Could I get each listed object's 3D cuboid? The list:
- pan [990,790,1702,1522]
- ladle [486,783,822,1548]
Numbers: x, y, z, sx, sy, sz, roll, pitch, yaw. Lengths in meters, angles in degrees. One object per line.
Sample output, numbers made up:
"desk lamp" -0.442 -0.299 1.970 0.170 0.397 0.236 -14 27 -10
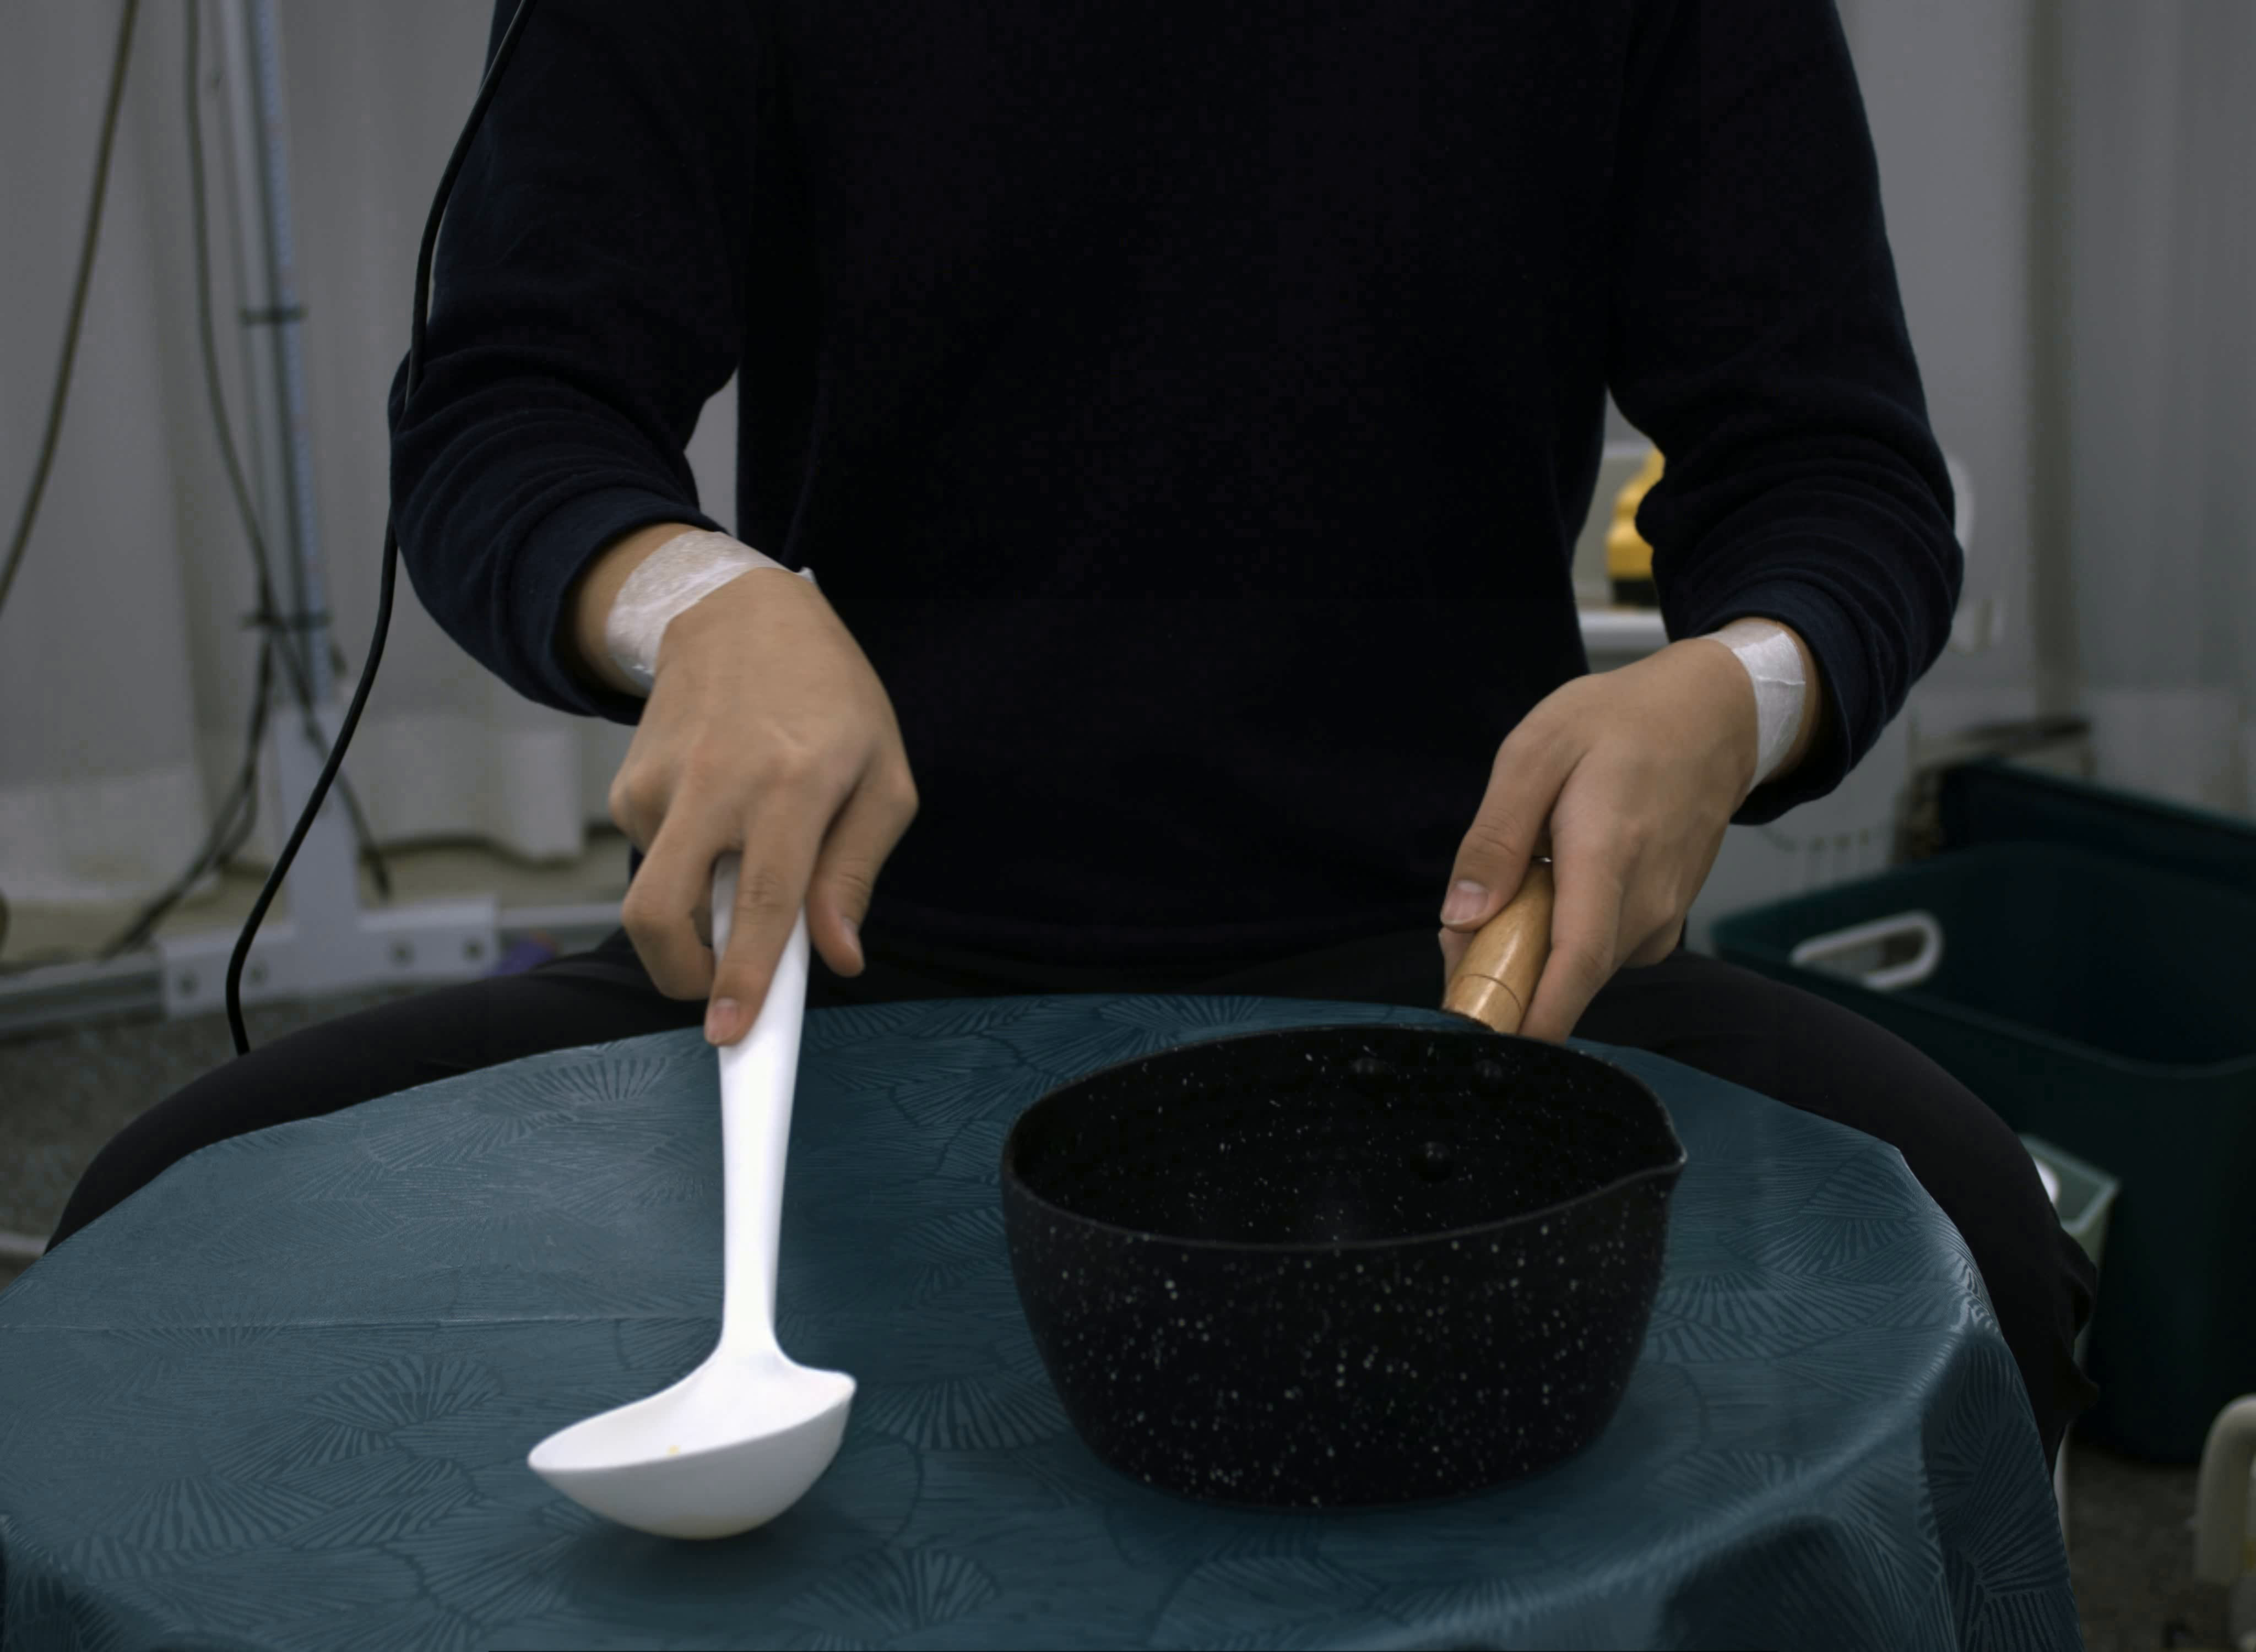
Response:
"pan" 0.084 0.090 1.578 0.207 0.107 0.344 1 18 20
"ladle" -0.120 0.086 1.537 0.090 0.069 0.297 -17 41 18
